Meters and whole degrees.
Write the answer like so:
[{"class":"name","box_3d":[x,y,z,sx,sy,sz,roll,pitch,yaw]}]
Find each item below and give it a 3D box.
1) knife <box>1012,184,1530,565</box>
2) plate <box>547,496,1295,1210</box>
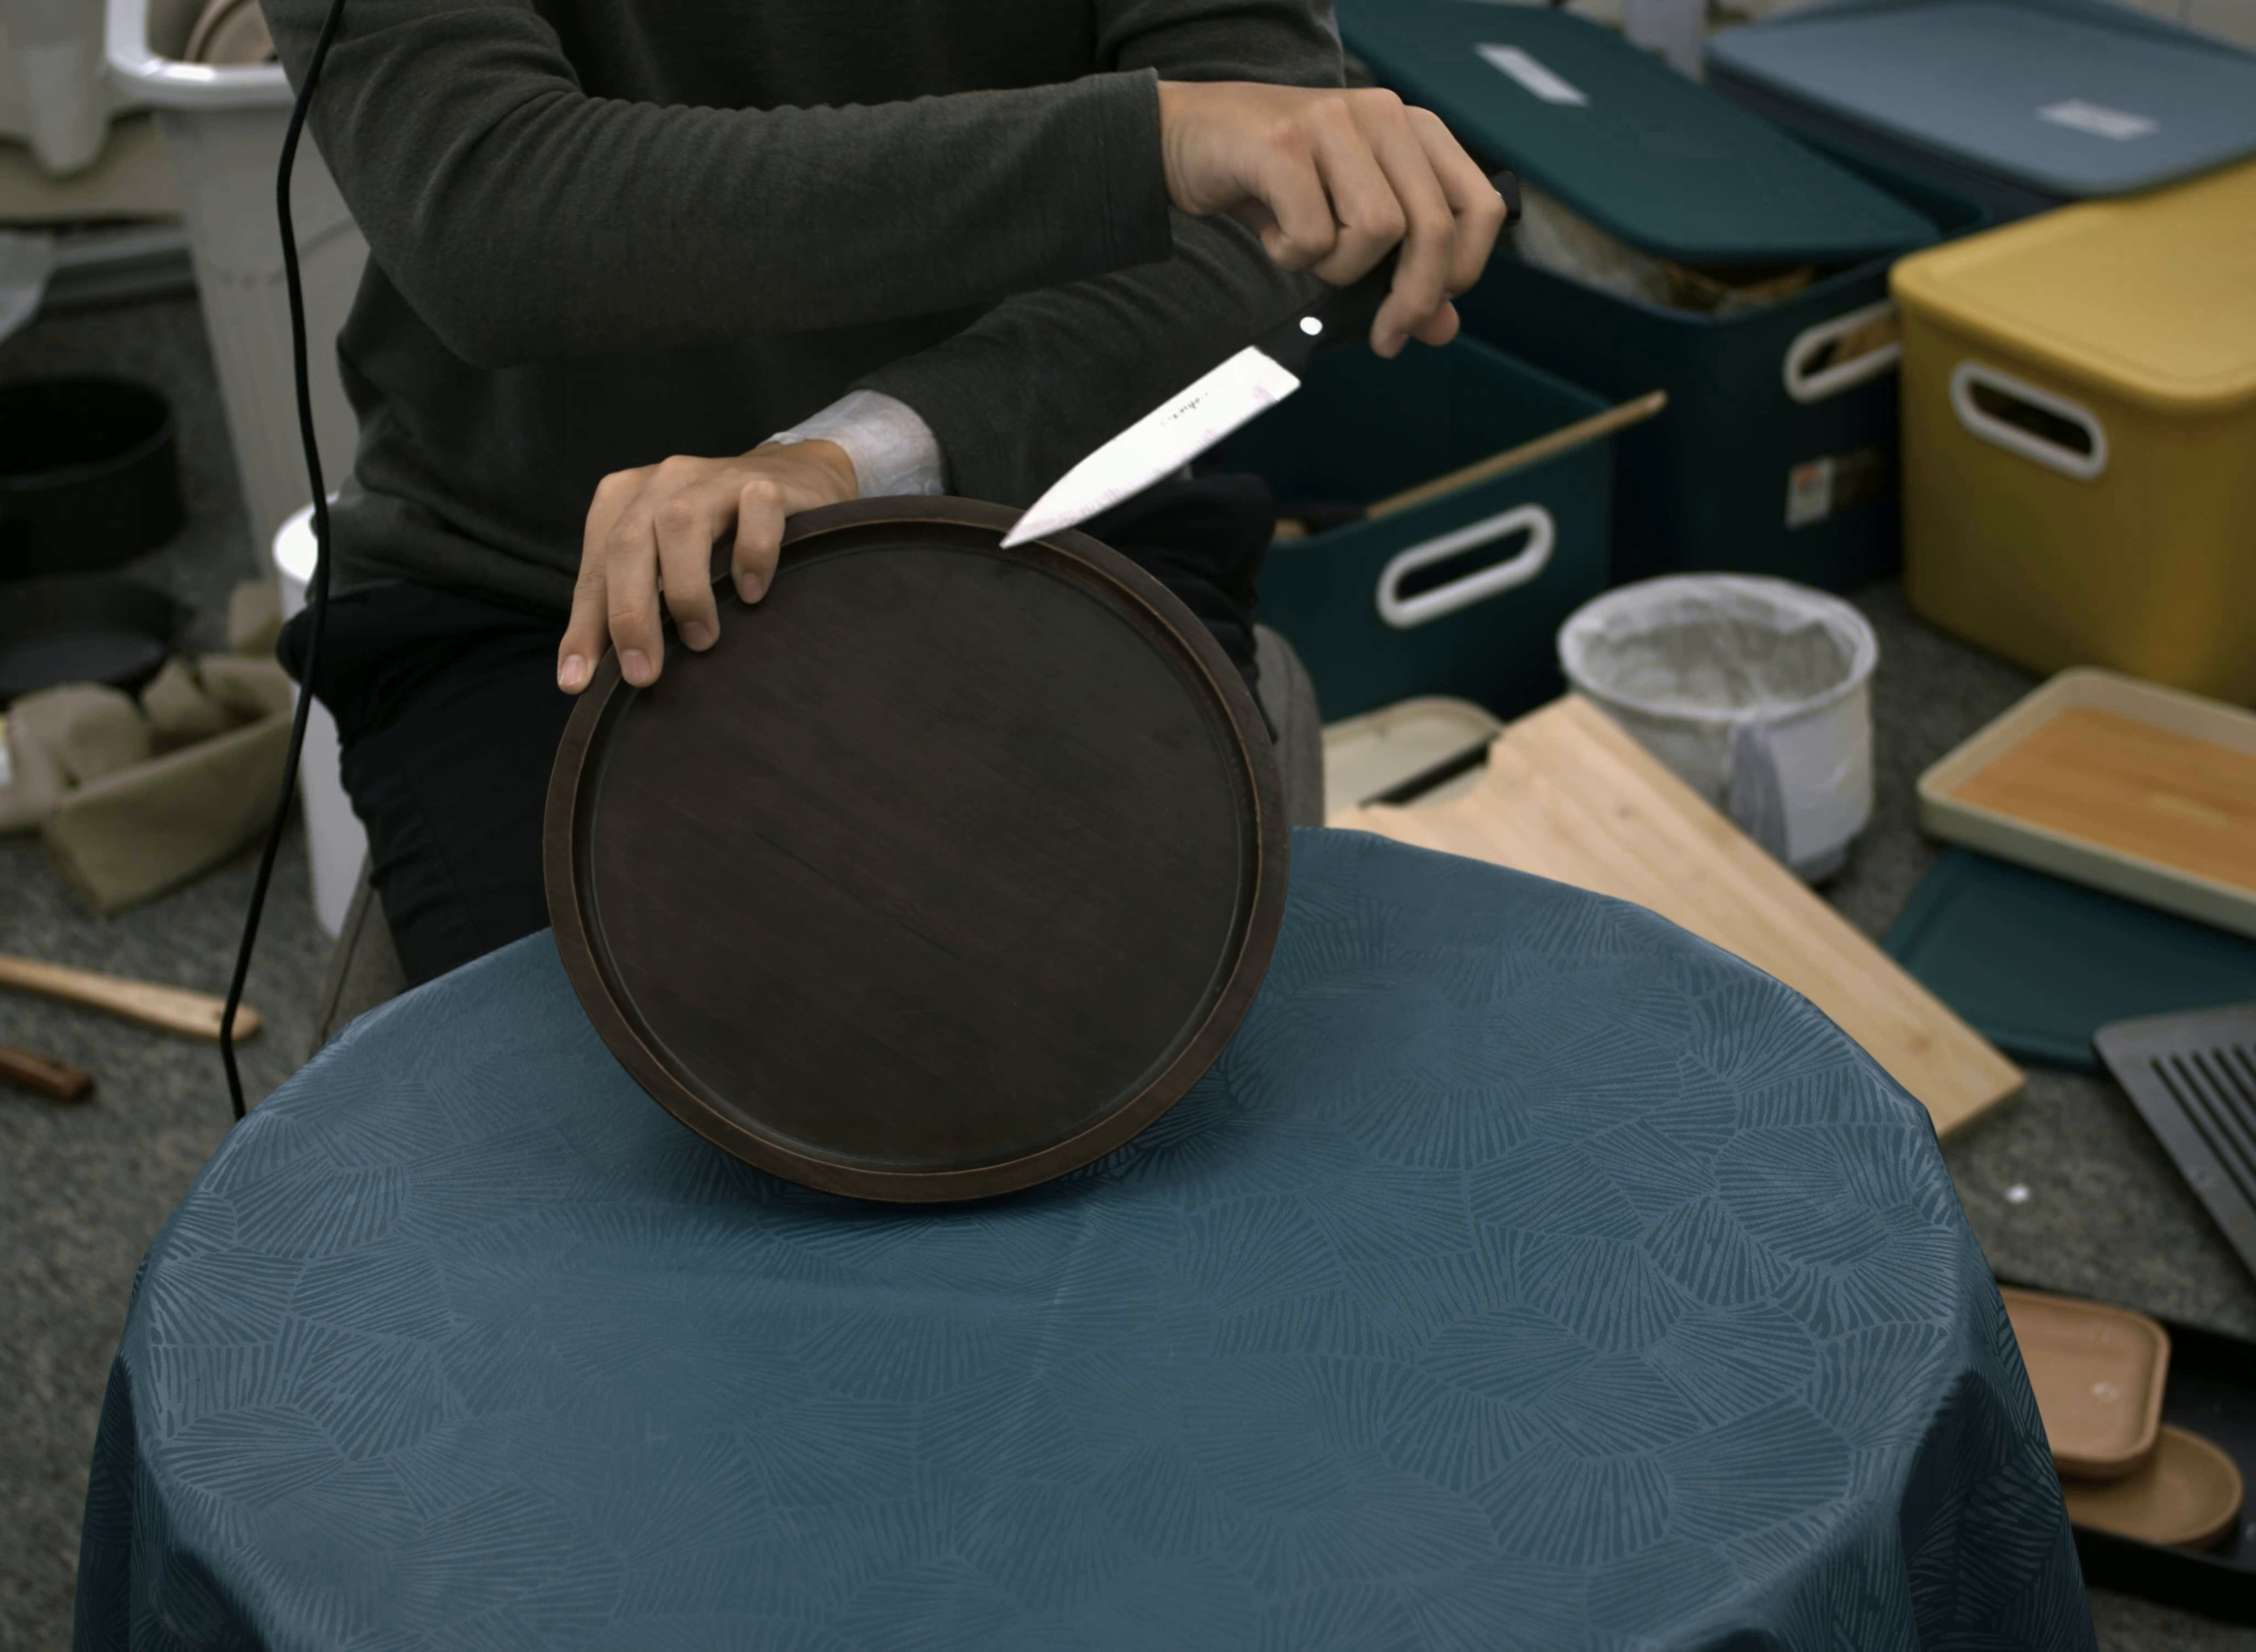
[{"class":"knife","box_3d":[0.048,-0.159,1.972,0.240,0.024,0.016,-37,-6,-21]},{"class":"plate","box_3d":[-0.070,0.009,1.901,0.254,0.028,0.259,2,69,-4]}]
